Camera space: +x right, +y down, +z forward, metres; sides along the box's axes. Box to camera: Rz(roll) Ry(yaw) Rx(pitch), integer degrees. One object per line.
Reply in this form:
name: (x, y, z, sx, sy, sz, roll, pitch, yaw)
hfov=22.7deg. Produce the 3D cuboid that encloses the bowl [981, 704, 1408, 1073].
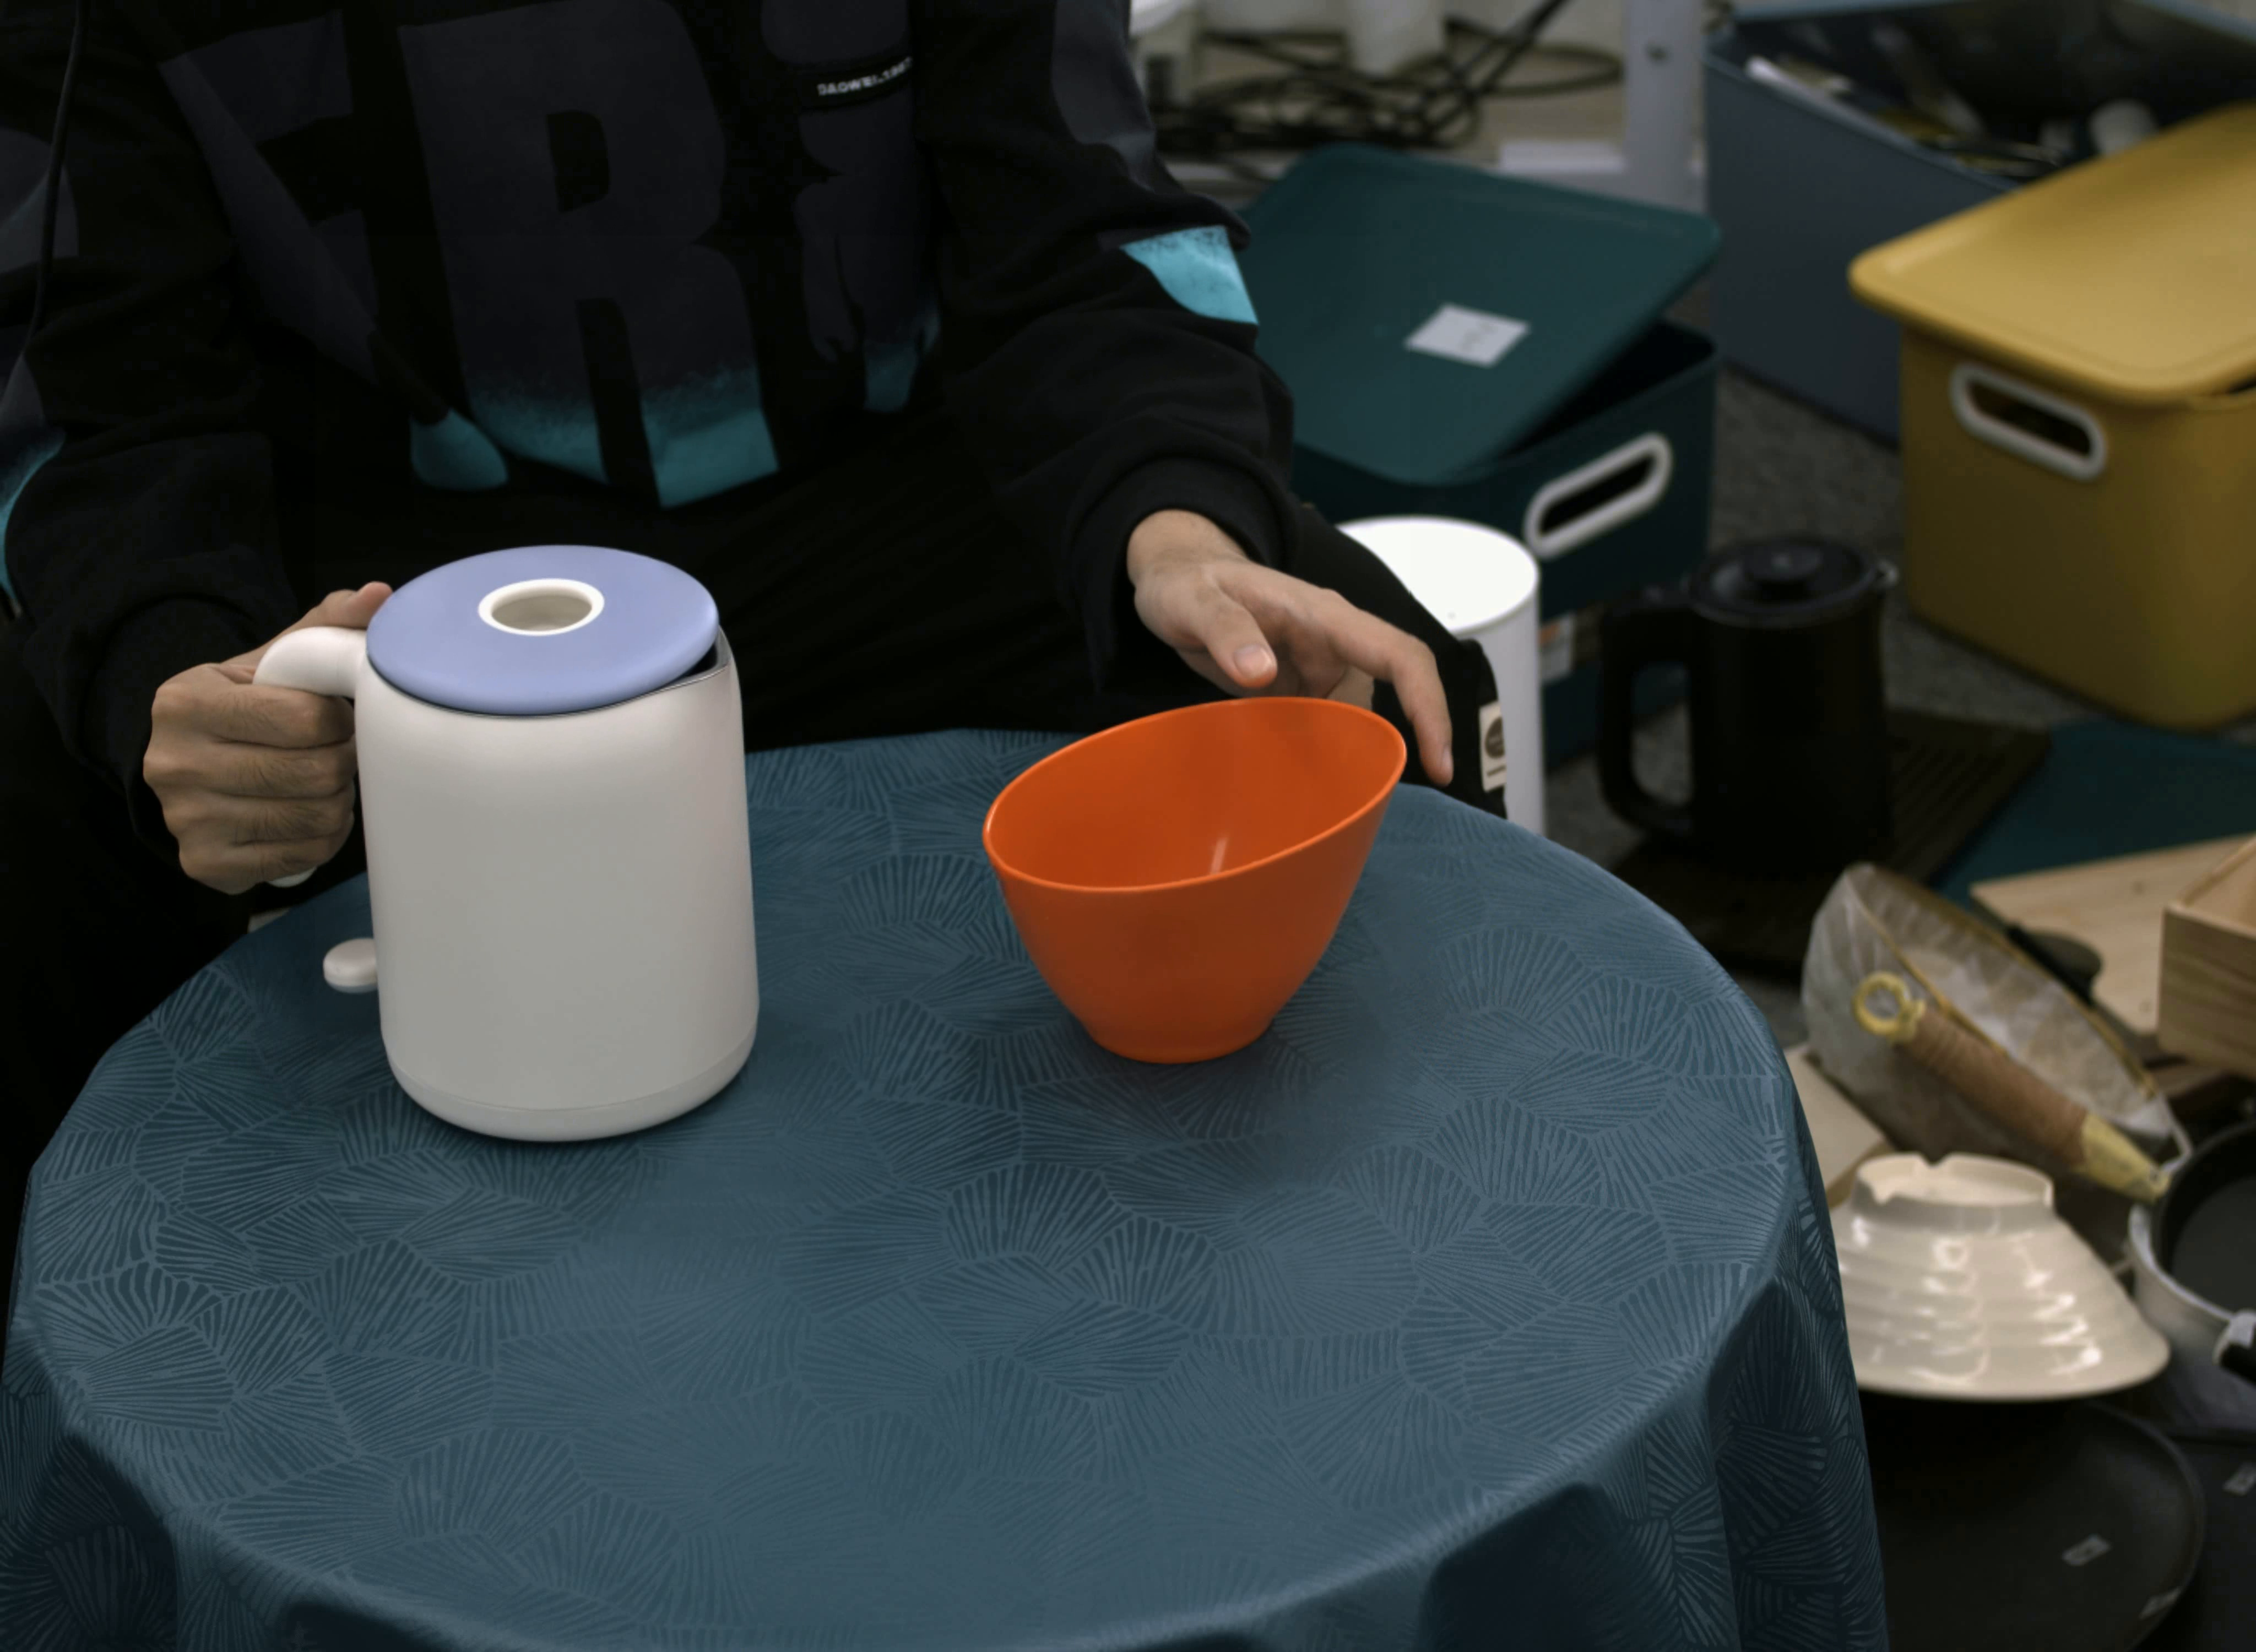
bowl: (0.024, 0.026, 1.934, 0.147, 0.103, 0.150, -2, 27, 1)

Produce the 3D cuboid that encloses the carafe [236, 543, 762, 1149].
carafe: (-0.217, 0.004, 1.921, 0.190, 0.181, 0.134, 5, 26, 18)
